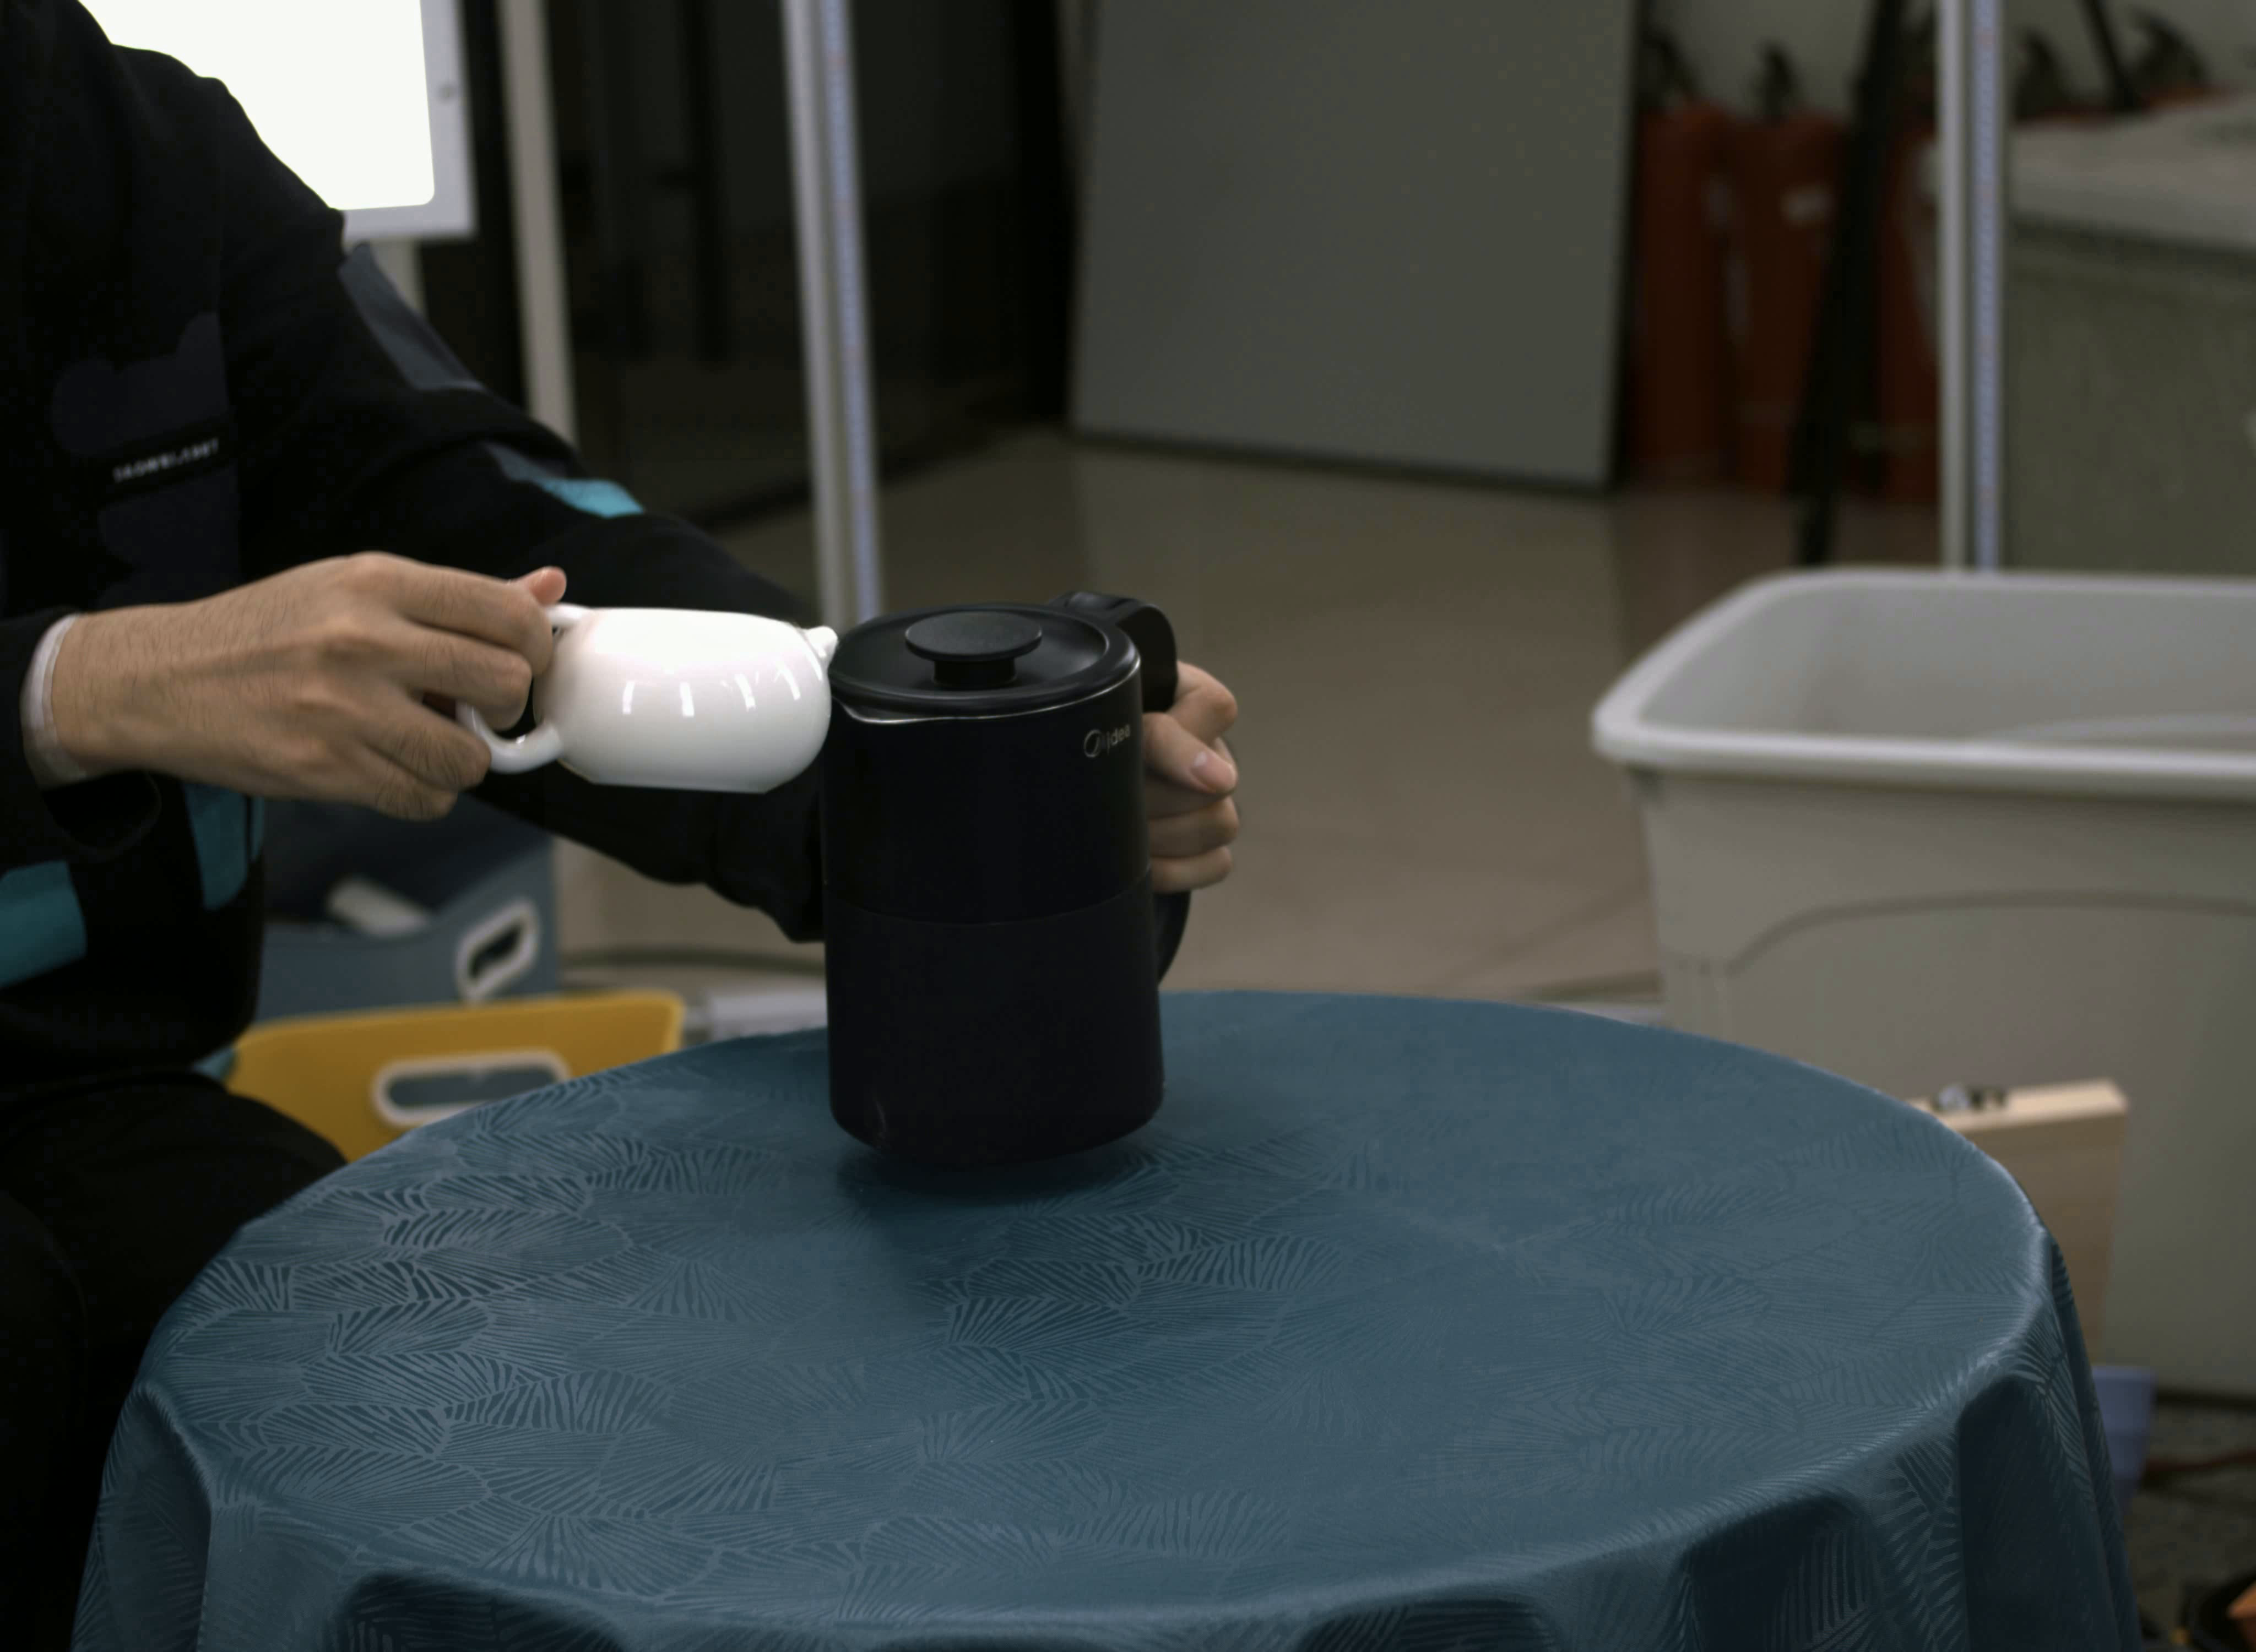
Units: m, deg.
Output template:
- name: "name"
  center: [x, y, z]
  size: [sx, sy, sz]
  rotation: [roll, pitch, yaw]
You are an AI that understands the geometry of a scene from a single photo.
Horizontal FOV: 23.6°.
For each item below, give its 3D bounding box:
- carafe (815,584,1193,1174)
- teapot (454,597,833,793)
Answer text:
- name: "carafe"
  center: [-0.035, 0.006, 1.803]
  size: [0.115, 0.175, 0.169]
  rotation: [7, 23, 31]
- name: "teapot"
  center: [-0.148, -0.040, 1.668]
  size: [0.124, 0.057, 0.094]
  rotation: [2, 3, -33]
